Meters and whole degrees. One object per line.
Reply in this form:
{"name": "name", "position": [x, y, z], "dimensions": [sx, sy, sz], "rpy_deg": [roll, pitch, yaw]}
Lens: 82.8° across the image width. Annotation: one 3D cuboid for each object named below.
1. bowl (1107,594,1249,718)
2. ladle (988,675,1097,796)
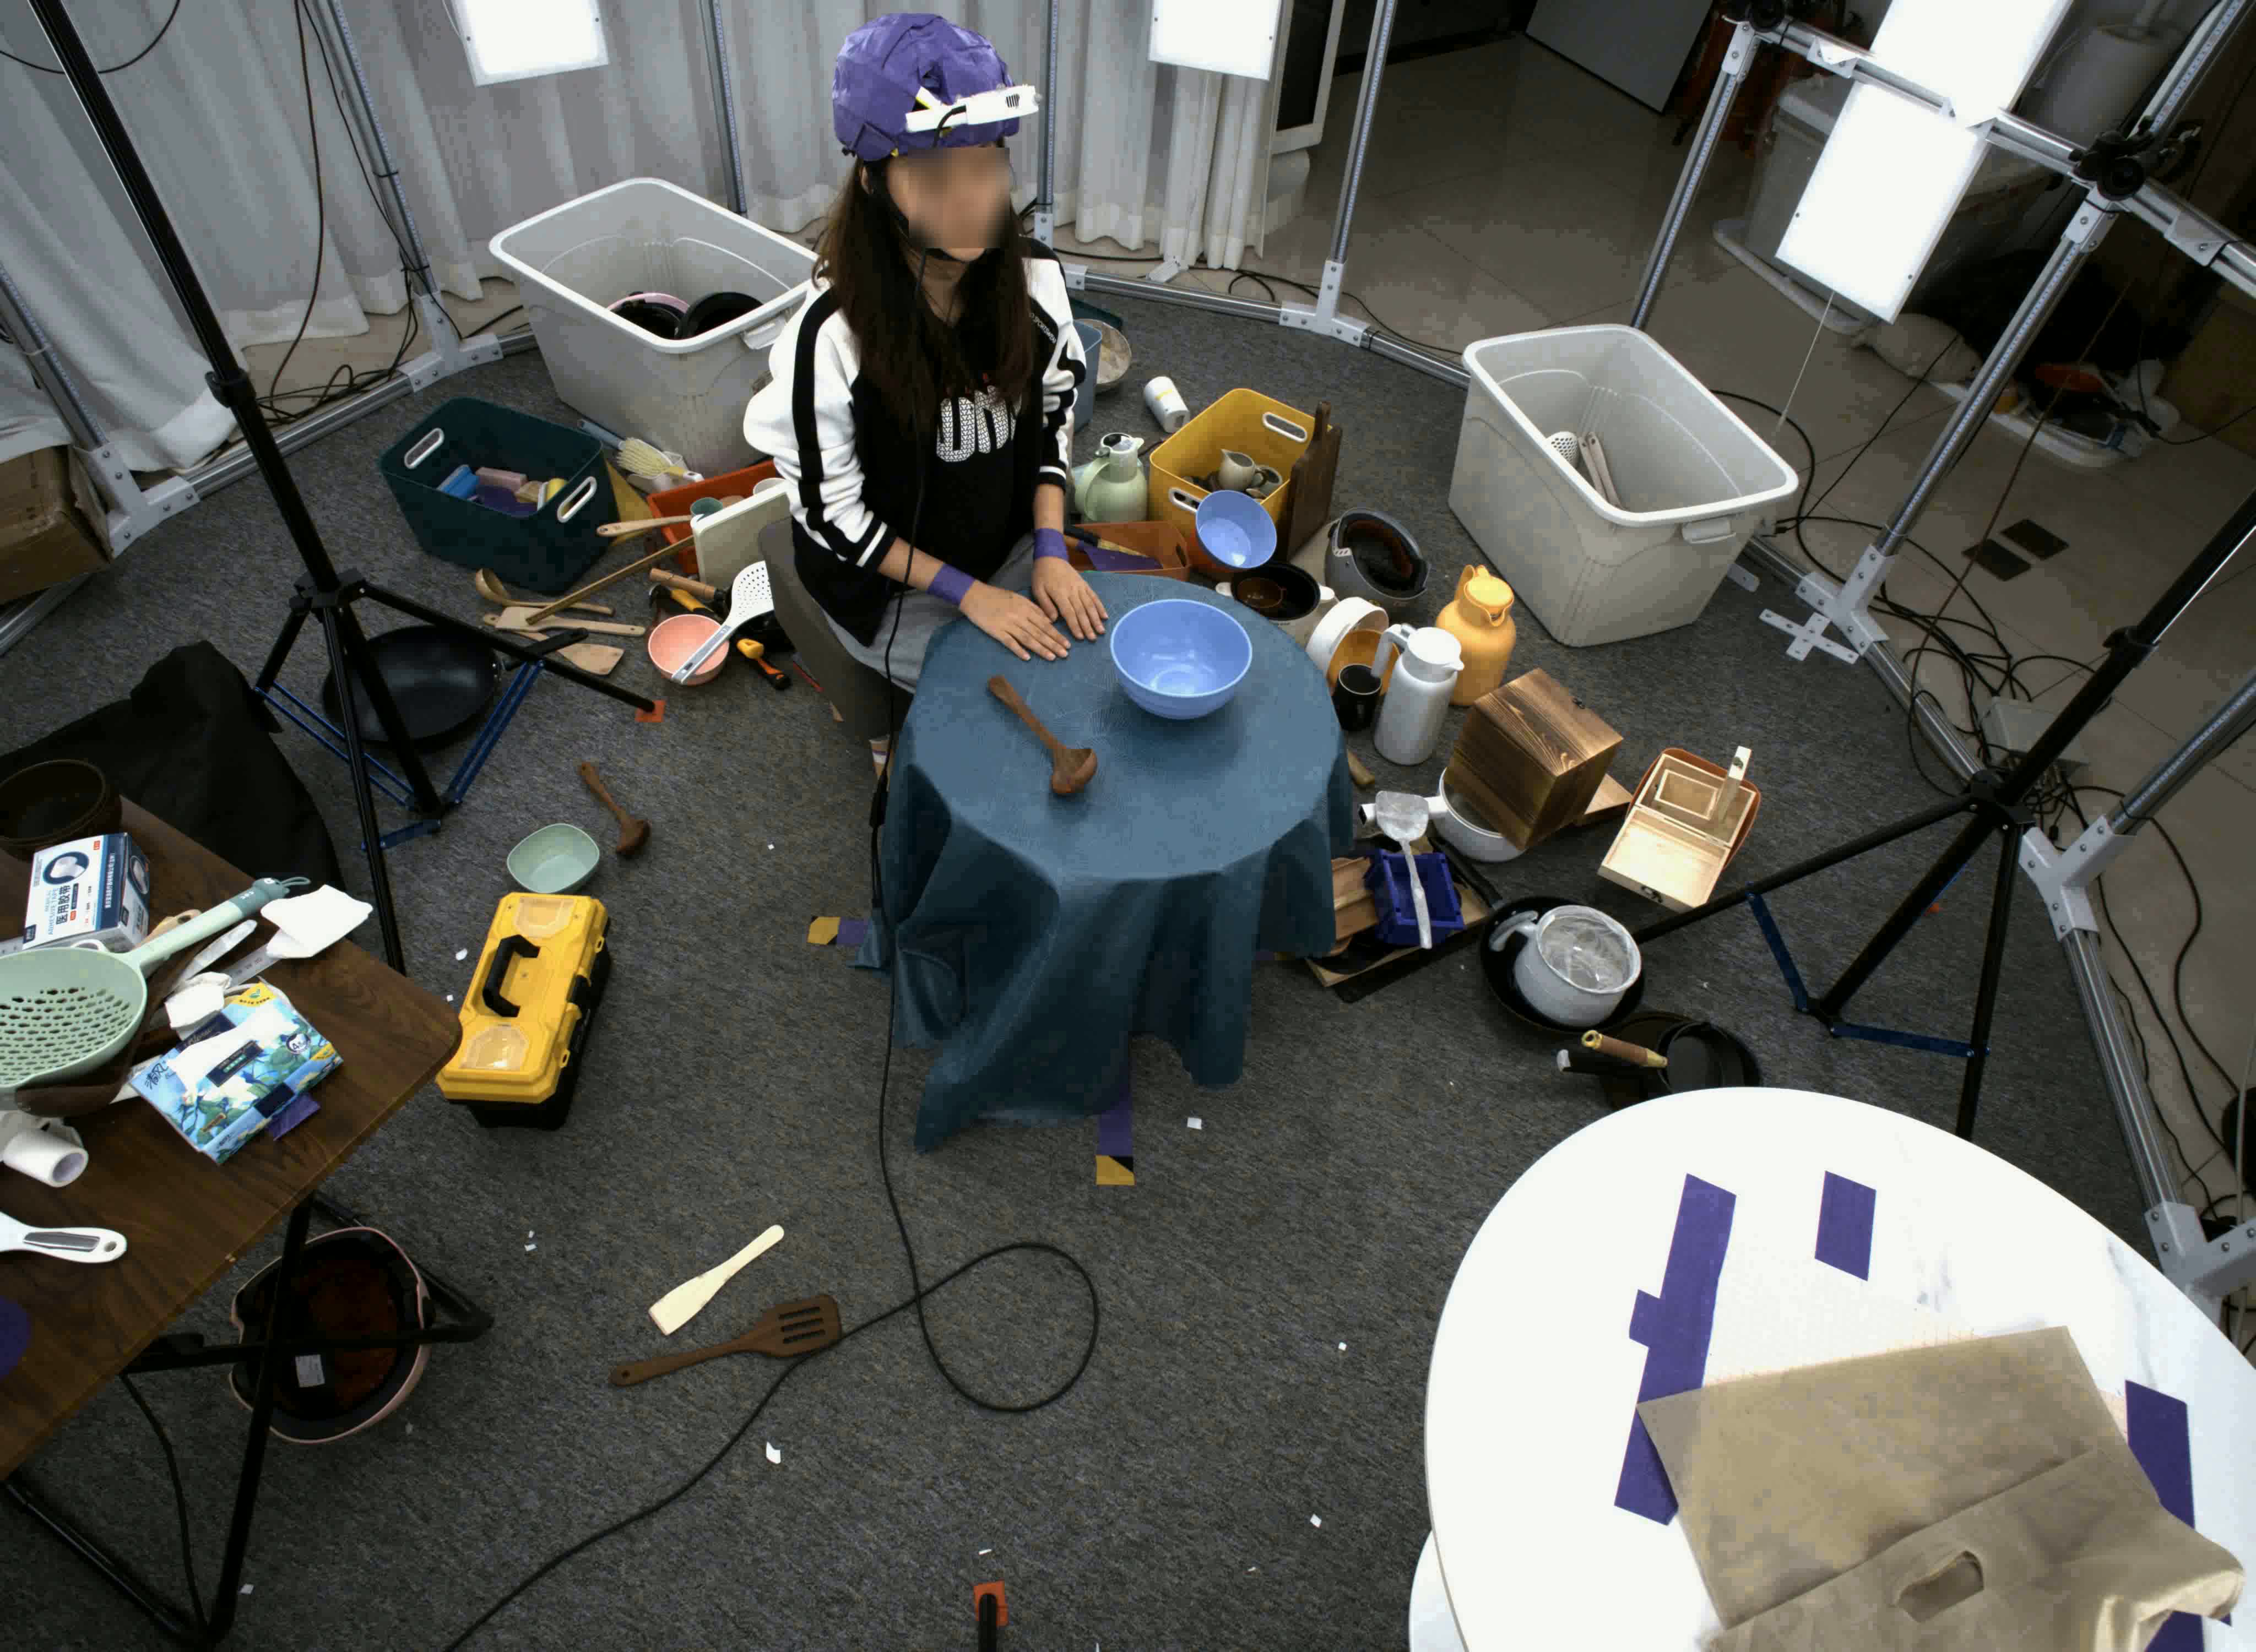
{"name": "bowl", "position": [0.068, -0.225, 1.809], "dimensions": [0.196, 0.093, 0.201], "rpy_deg": [1, 55, -1]}
{"name": "ladle", "position": [-0.127, -0.135, 1.740], "dimensions": [0.076, 0.064, 0.265], "rpy_deg": [-41, 59, 0]}
